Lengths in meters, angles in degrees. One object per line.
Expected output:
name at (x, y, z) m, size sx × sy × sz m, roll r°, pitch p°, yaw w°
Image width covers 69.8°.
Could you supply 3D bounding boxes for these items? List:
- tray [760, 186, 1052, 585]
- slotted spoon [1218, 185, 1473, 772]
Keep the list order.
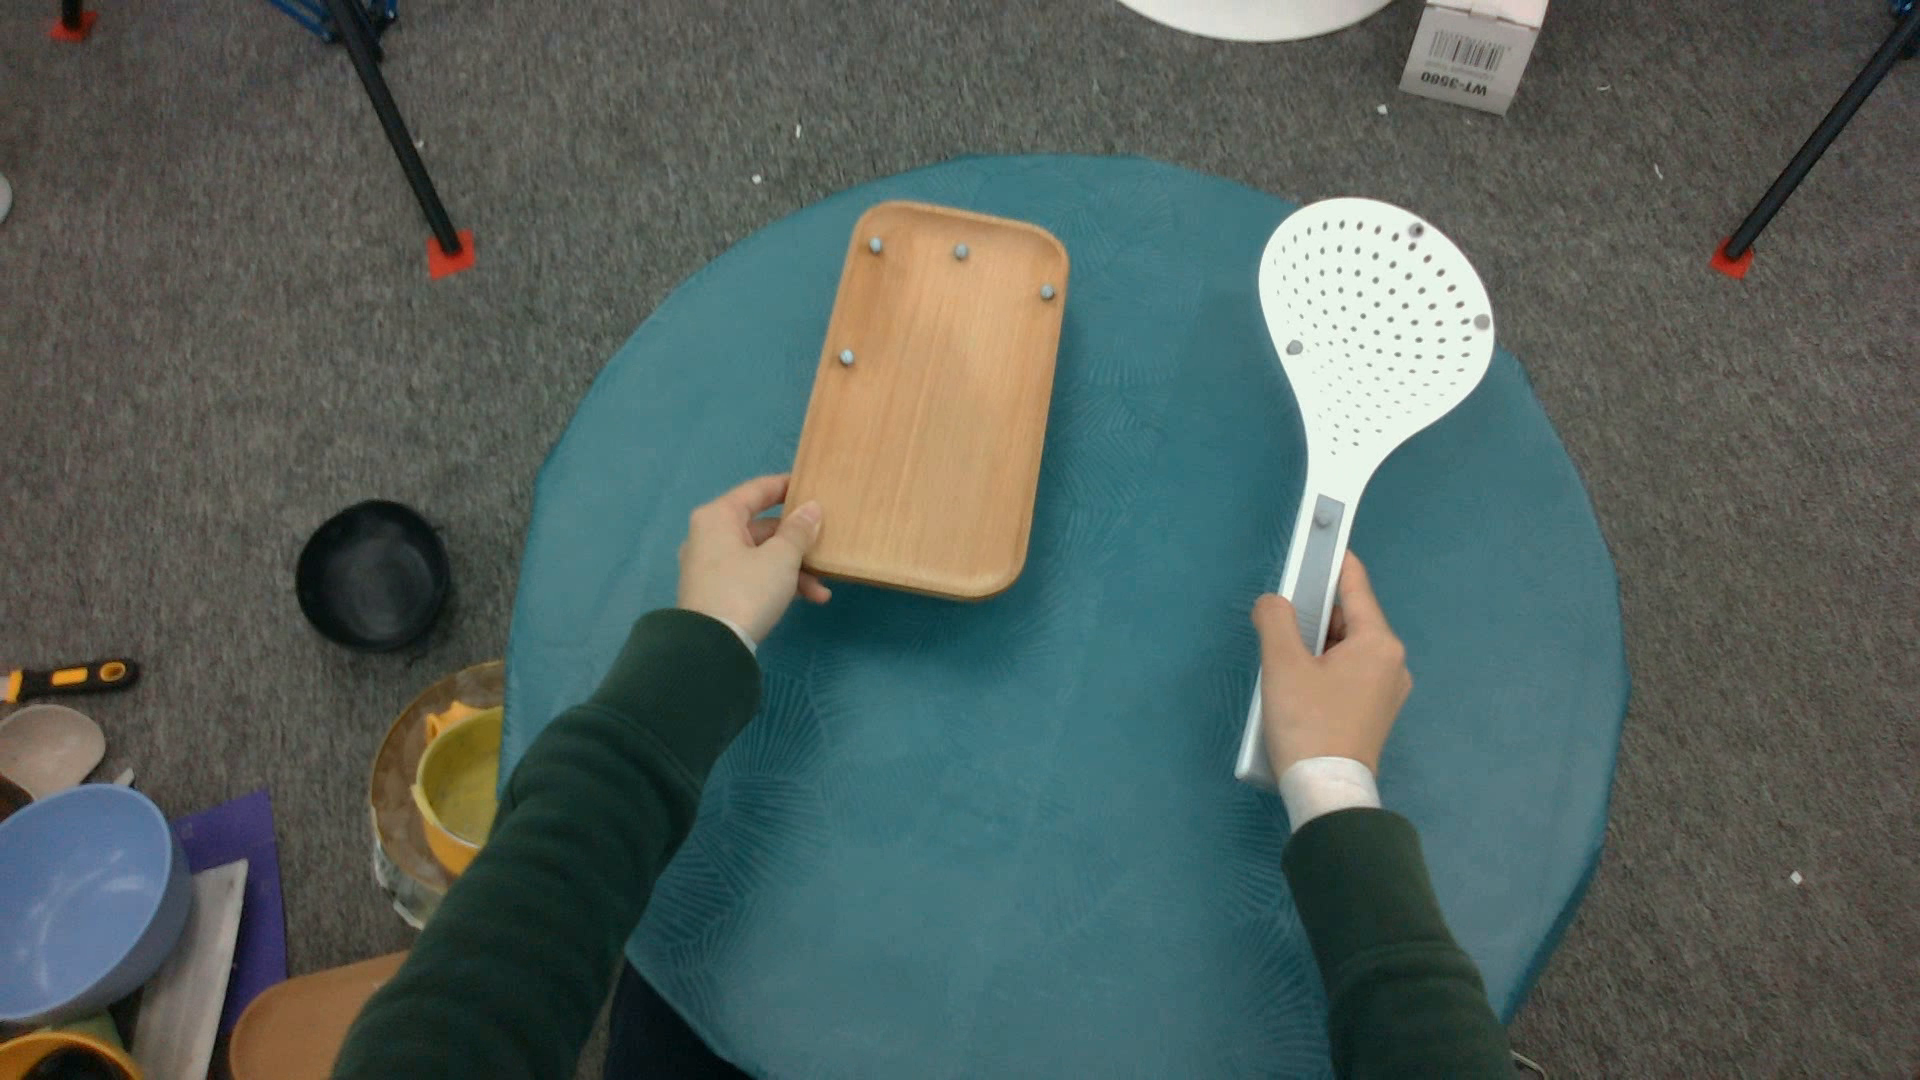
tray at (-0.024, -0.091, 0.749) m, size 0.130 × 0.023 × 0.252 m, roll 9°, pitch 61°, yaw 1°
slotted spoon at (0.186, -0.044, 0.715) m, size 0.136 × 0.045 × 0.351 m, roll 21°, pitch 60°, yaw -3°
